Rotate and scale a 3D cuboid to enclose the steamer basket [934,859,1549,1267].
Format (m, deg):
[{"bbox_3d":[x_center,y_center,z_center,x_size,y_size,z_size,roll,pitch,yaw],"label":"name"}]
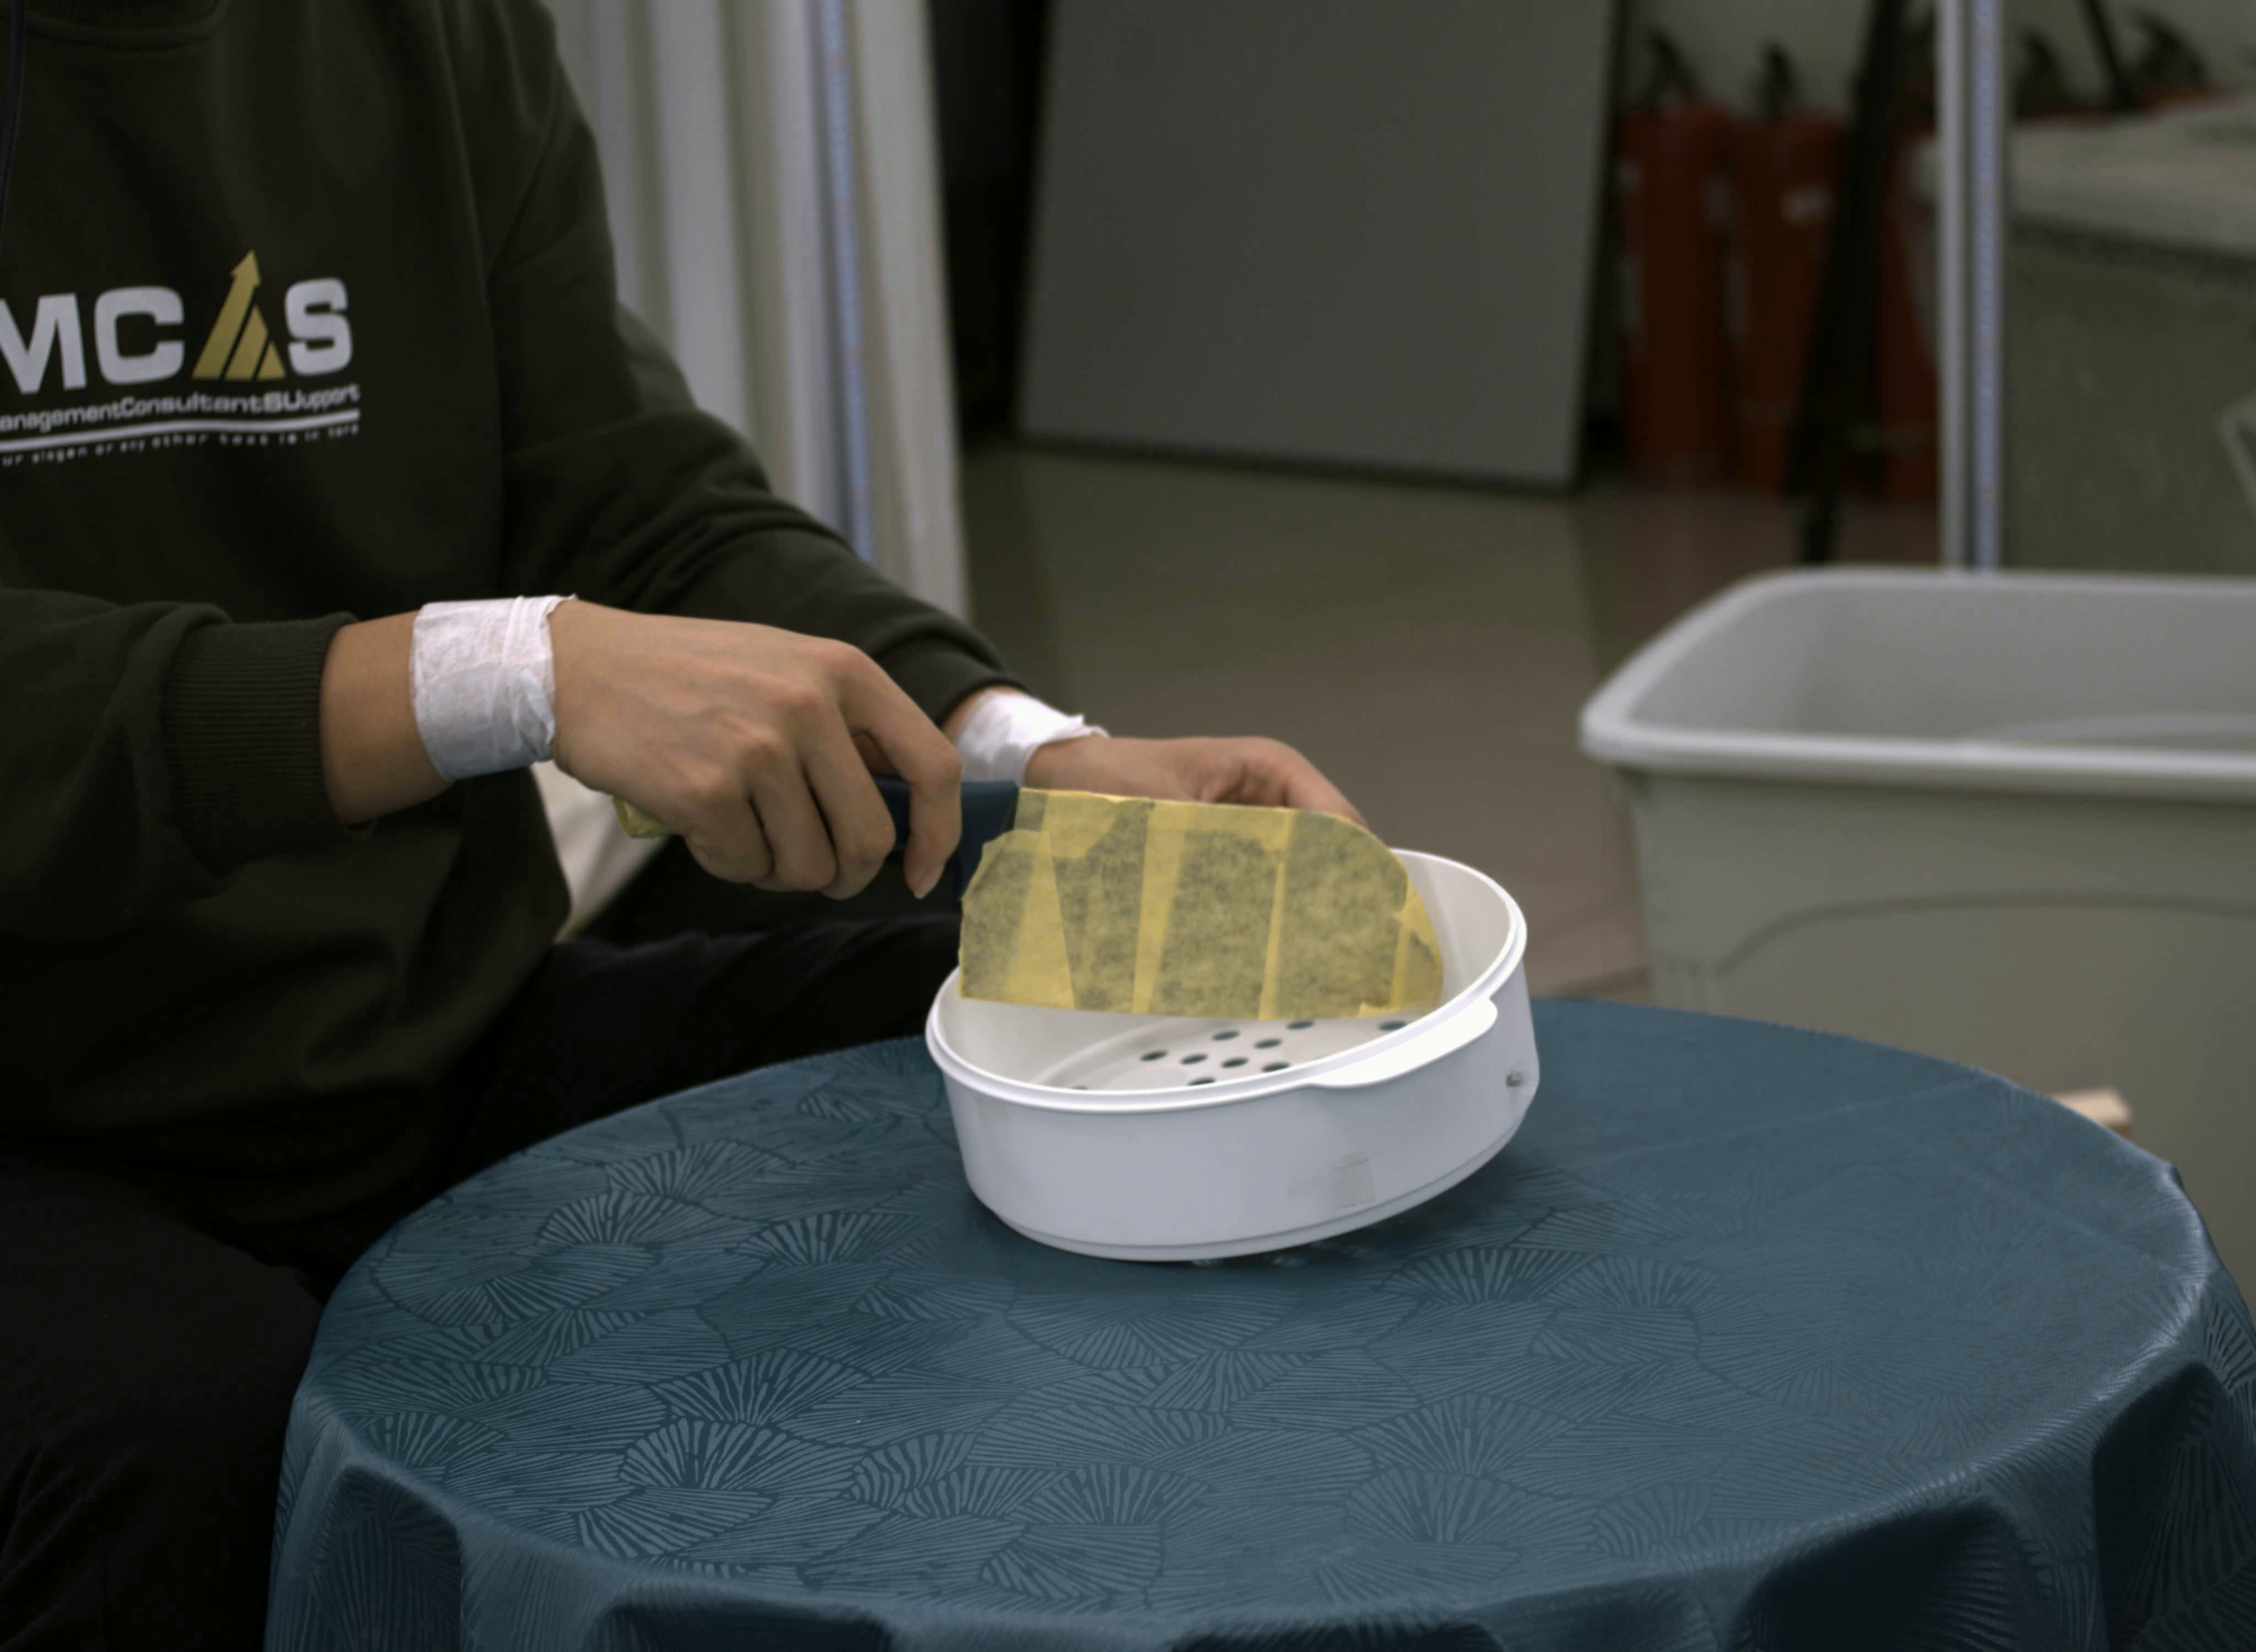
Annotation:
[{"bbox_3d":[0.040,0.077,1.760,0.198,0.070,0.233,-22,21,-28],"label":"steamer basket"}]

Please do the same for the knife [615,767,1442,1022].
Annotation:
[{"bbox_3d":[-0.030,0.022,1.775,0.284,0.082,0.027,8,2,-13],"label":"knife"}]
